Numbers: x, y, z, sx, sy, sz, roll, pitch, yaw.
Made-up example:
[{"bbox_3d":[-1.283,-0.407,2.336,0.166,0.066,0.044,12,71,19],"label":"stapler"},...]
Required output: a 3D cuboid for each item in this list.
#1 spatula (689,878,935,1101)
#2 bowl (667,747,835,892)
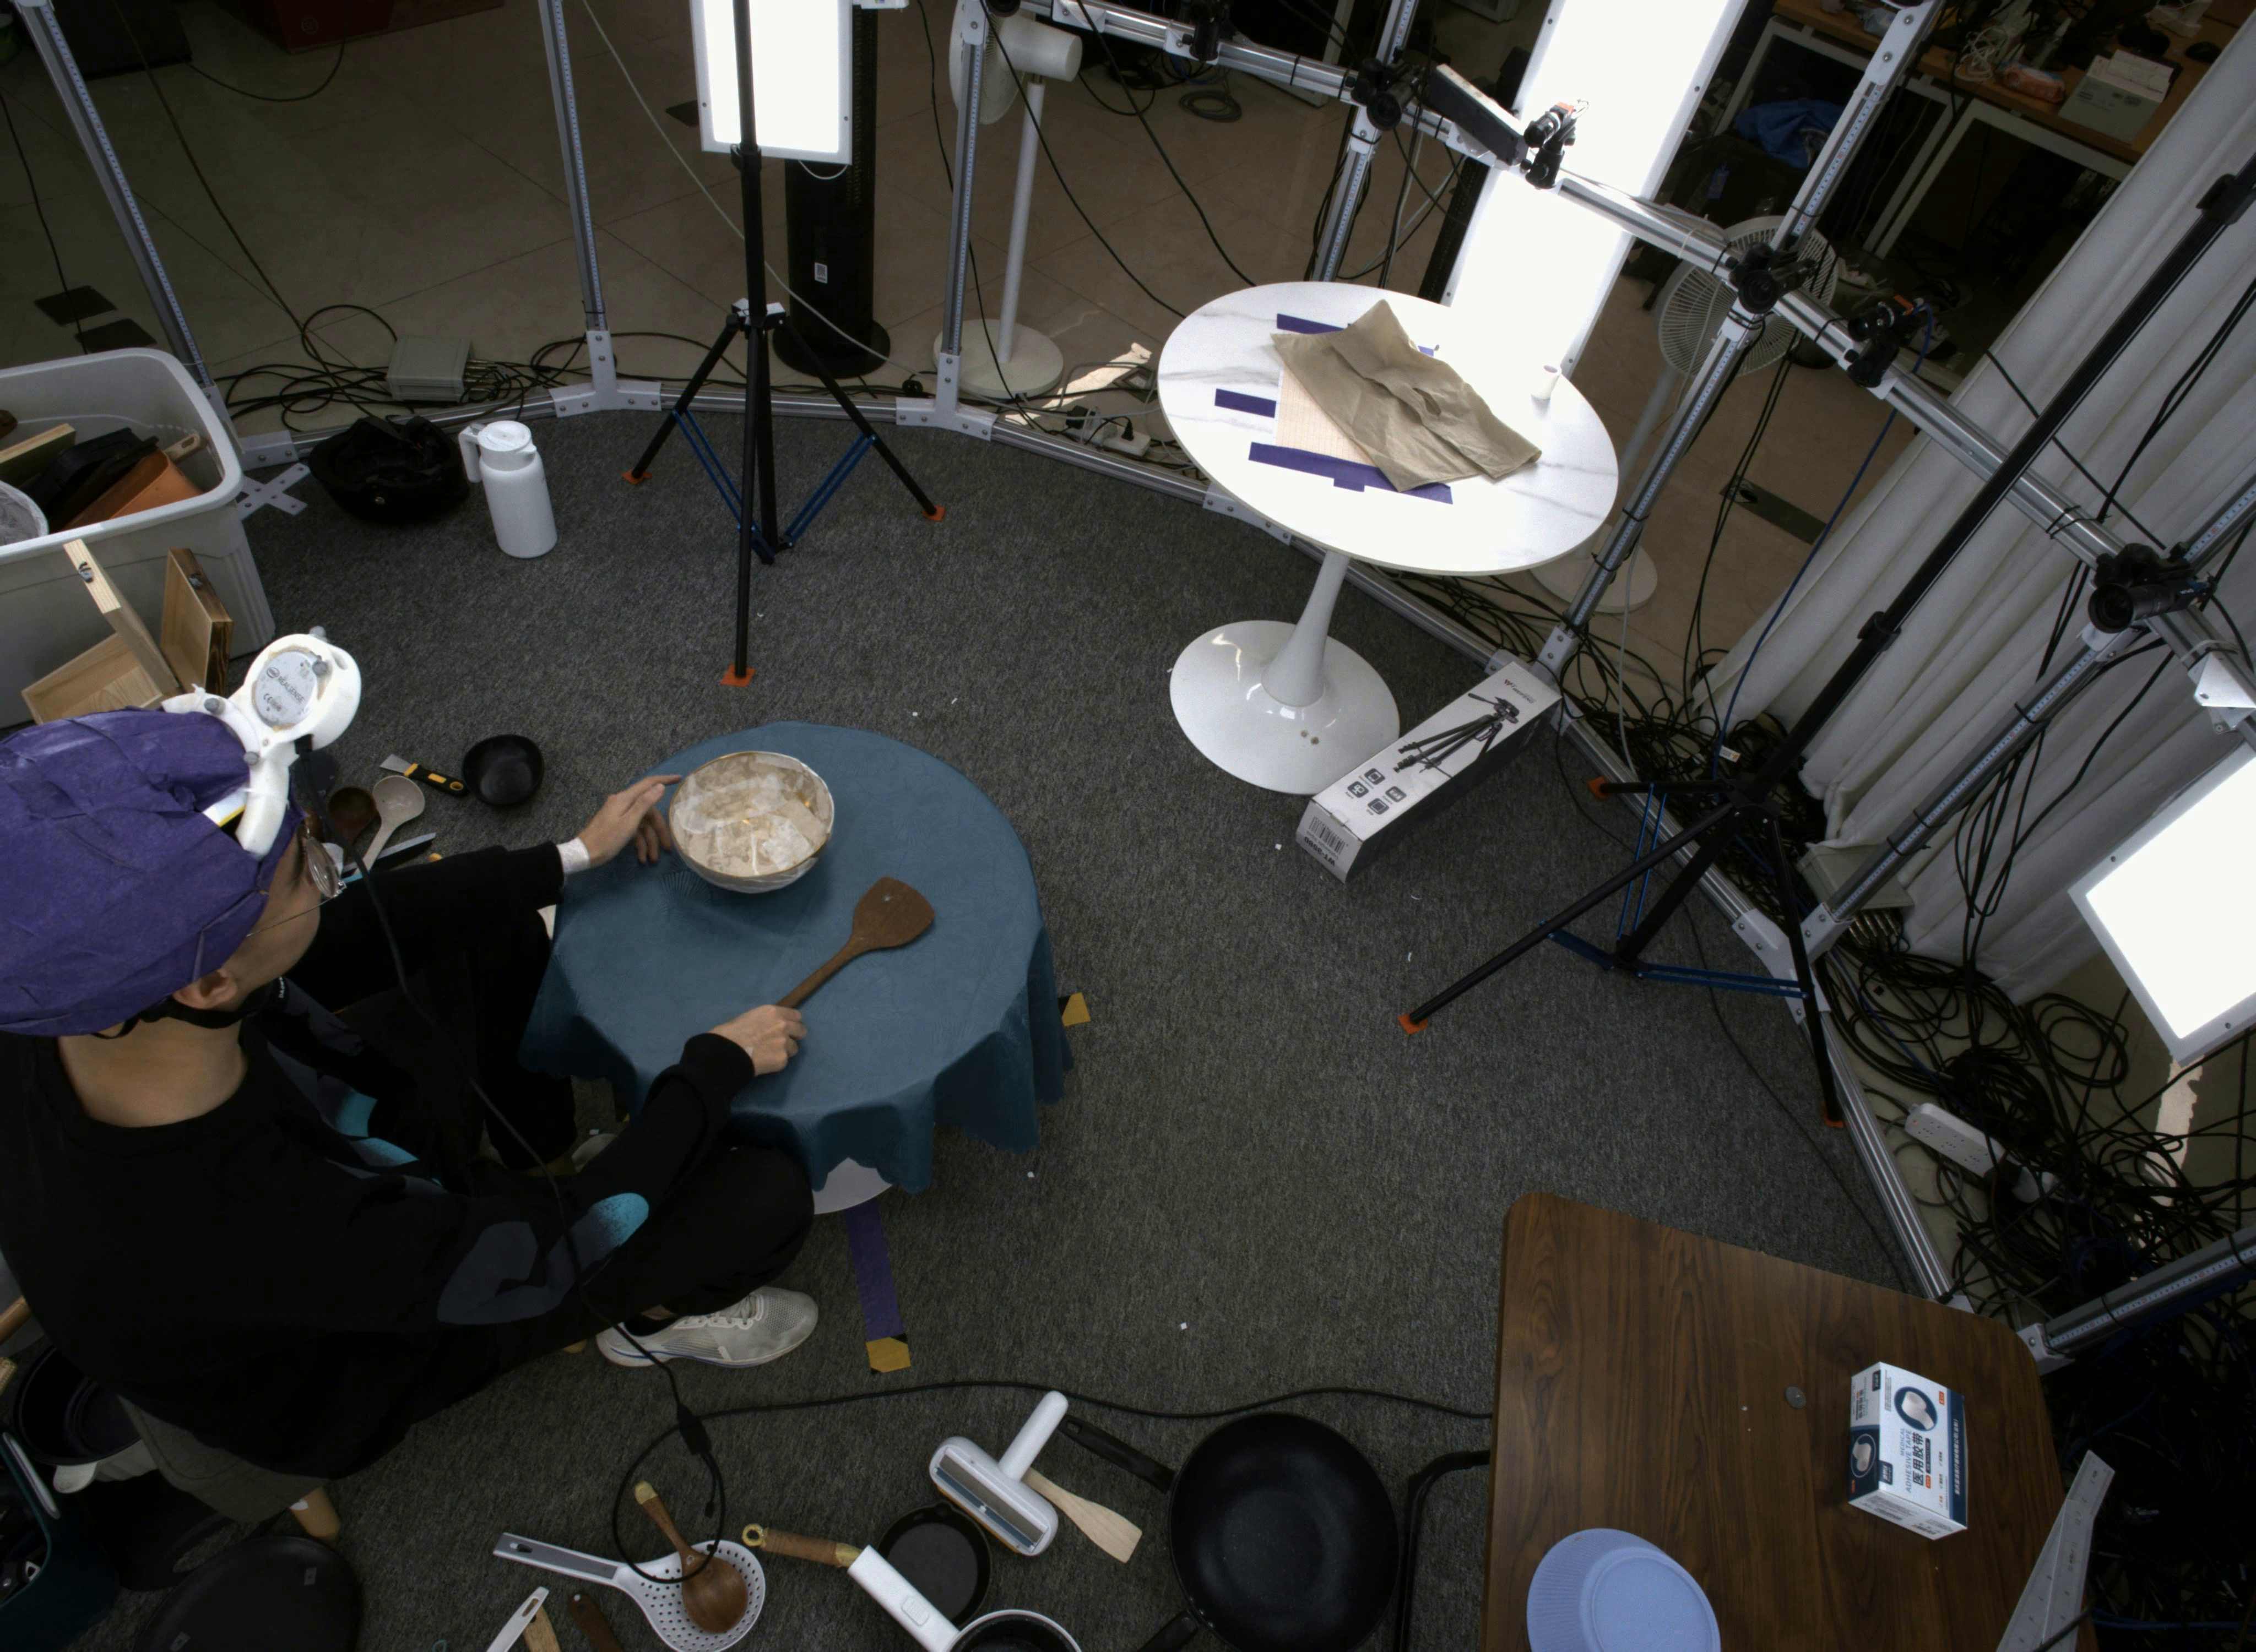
[{"bbox_3d":[-0.388,0.195,1.584,0.094,0.016,0.386,36,54,13],"label":"spatula"},{"bbox_3d":[-0.480,0.006,1.649,0.214,0.096,0.211,8,54,-9],"label":"bowl"}]
